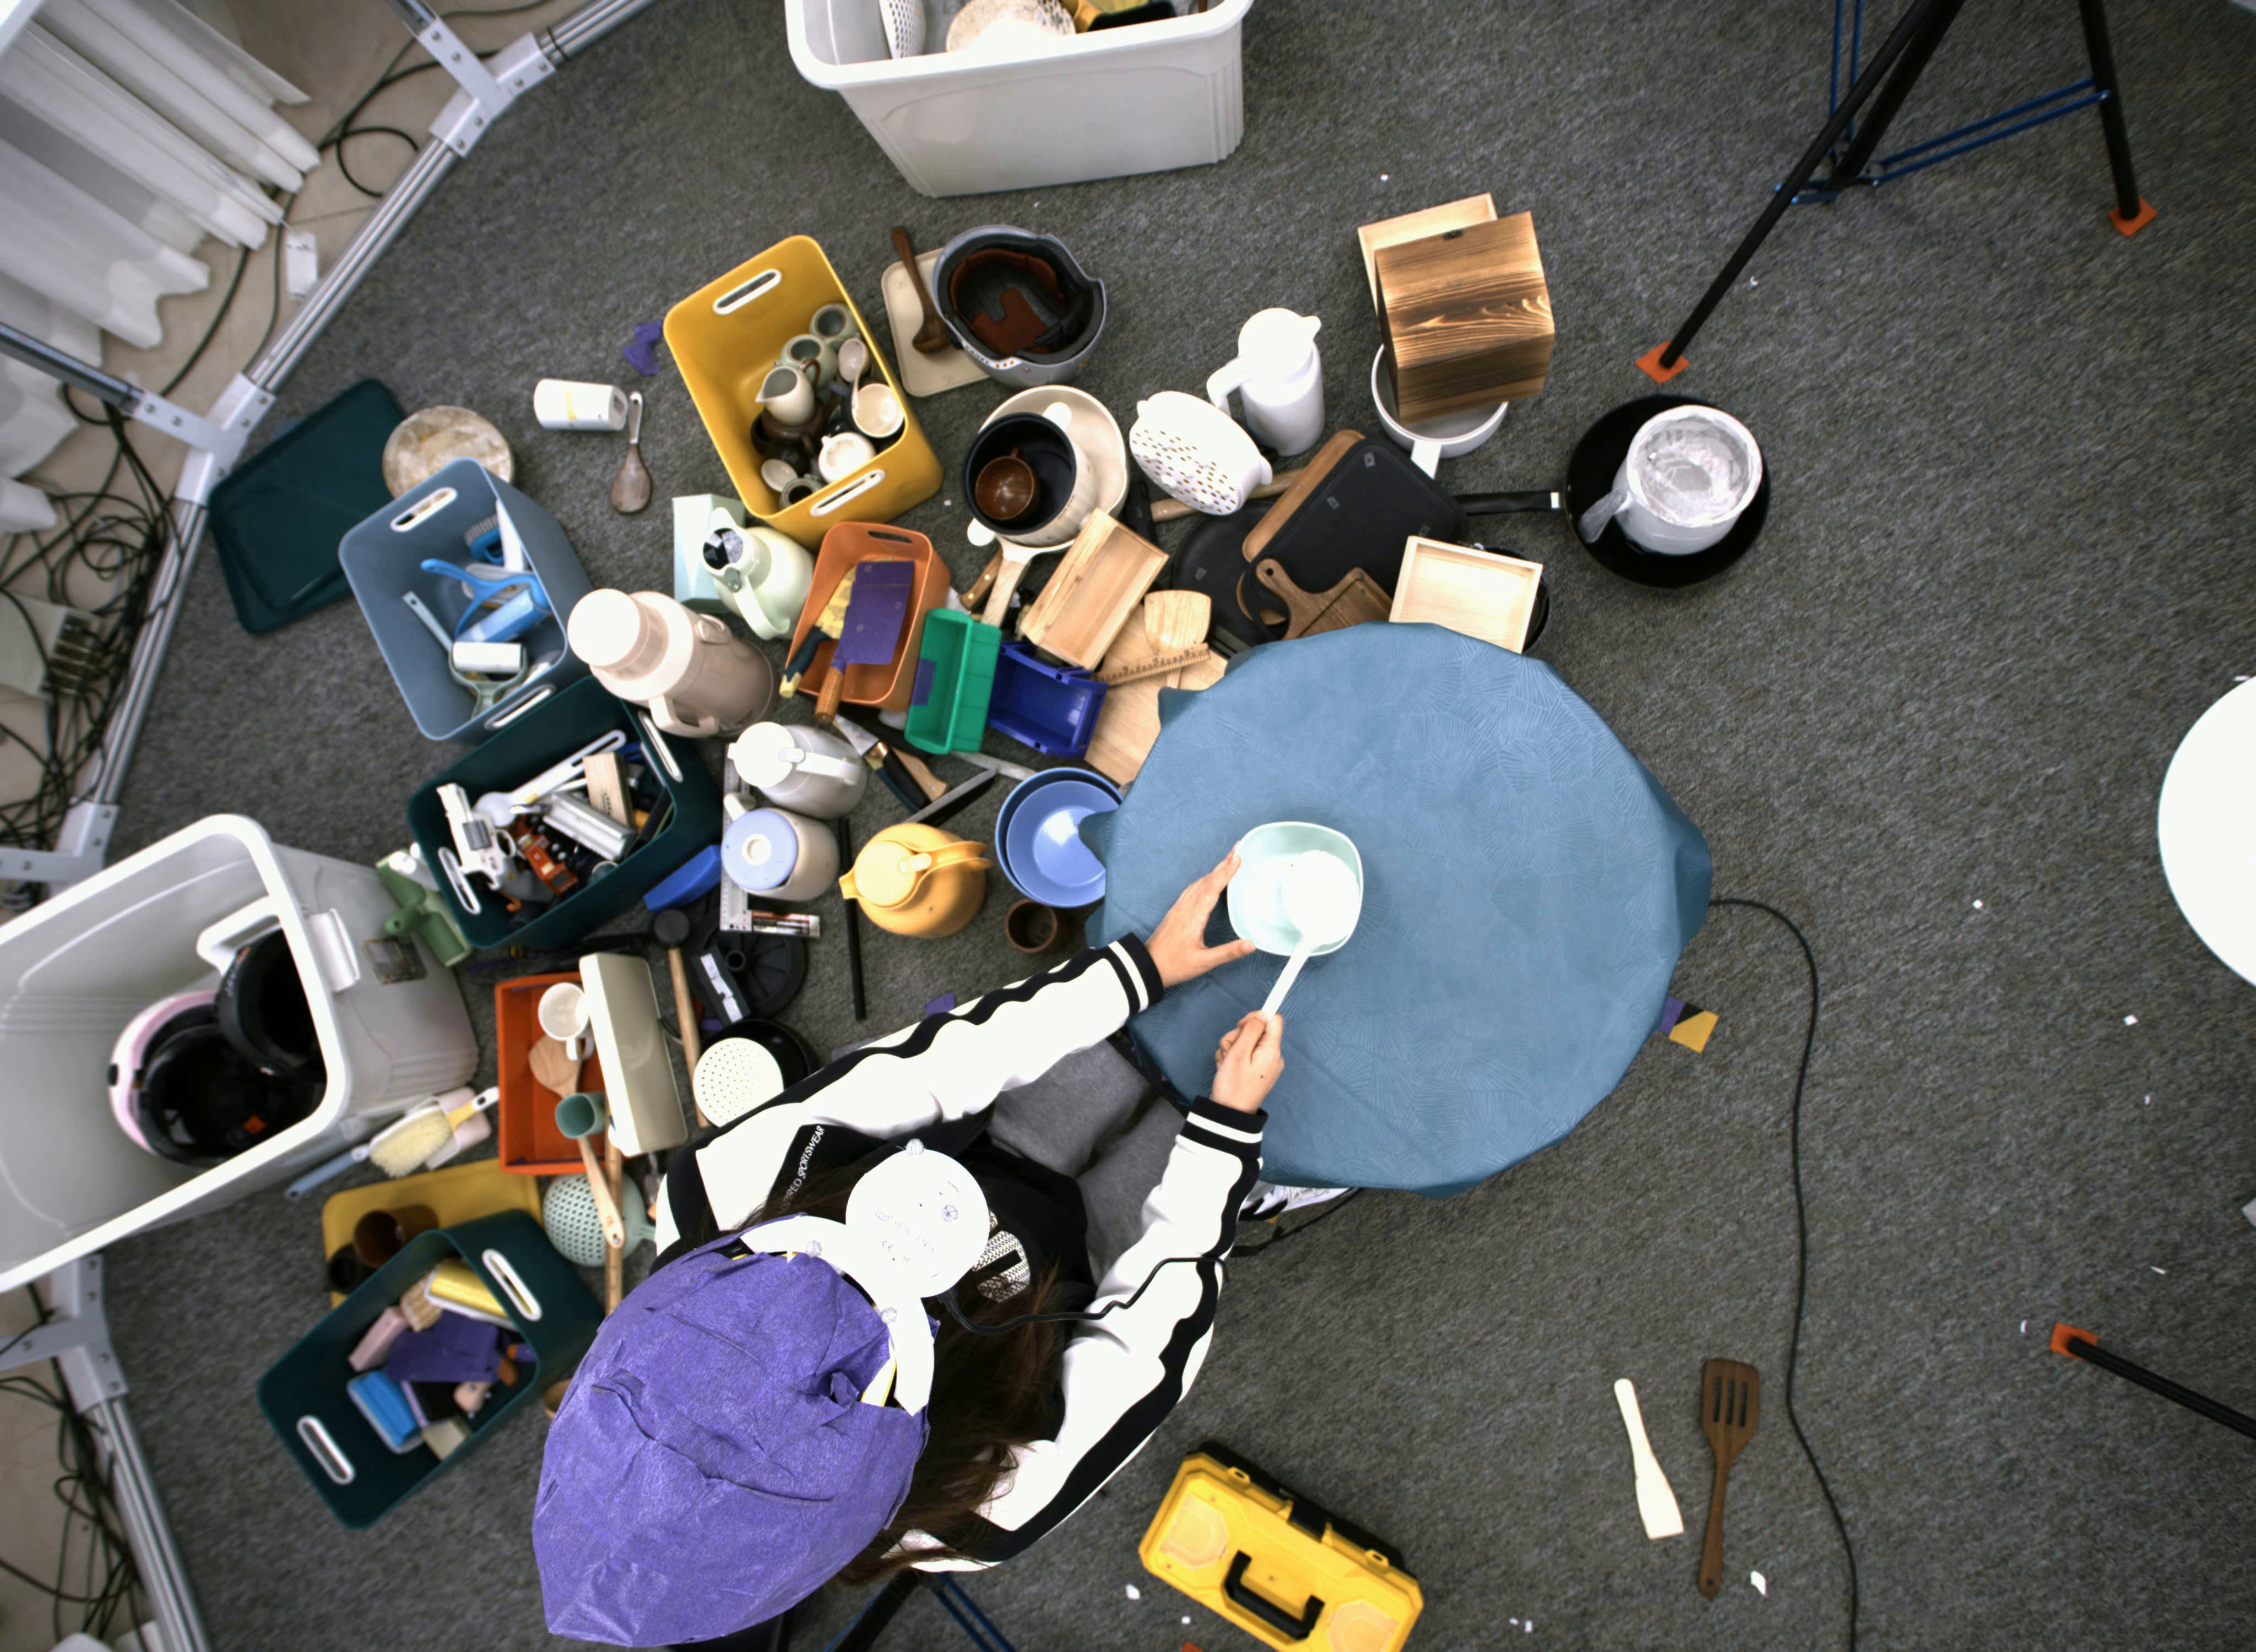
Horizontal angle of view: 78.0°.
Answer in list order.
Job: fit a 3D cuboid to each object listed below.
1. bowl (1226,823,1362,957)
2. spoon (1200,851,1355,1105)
[{"bbox_3d":[0.175,0.068,1.452,0.152,0.058,0.151,-1,86,11],"label":"bowl"},{"bbox_3d":[0.135,0.152,1.387,0.100,0.060,0.277,34,91,43],"label":"spoon"}]
